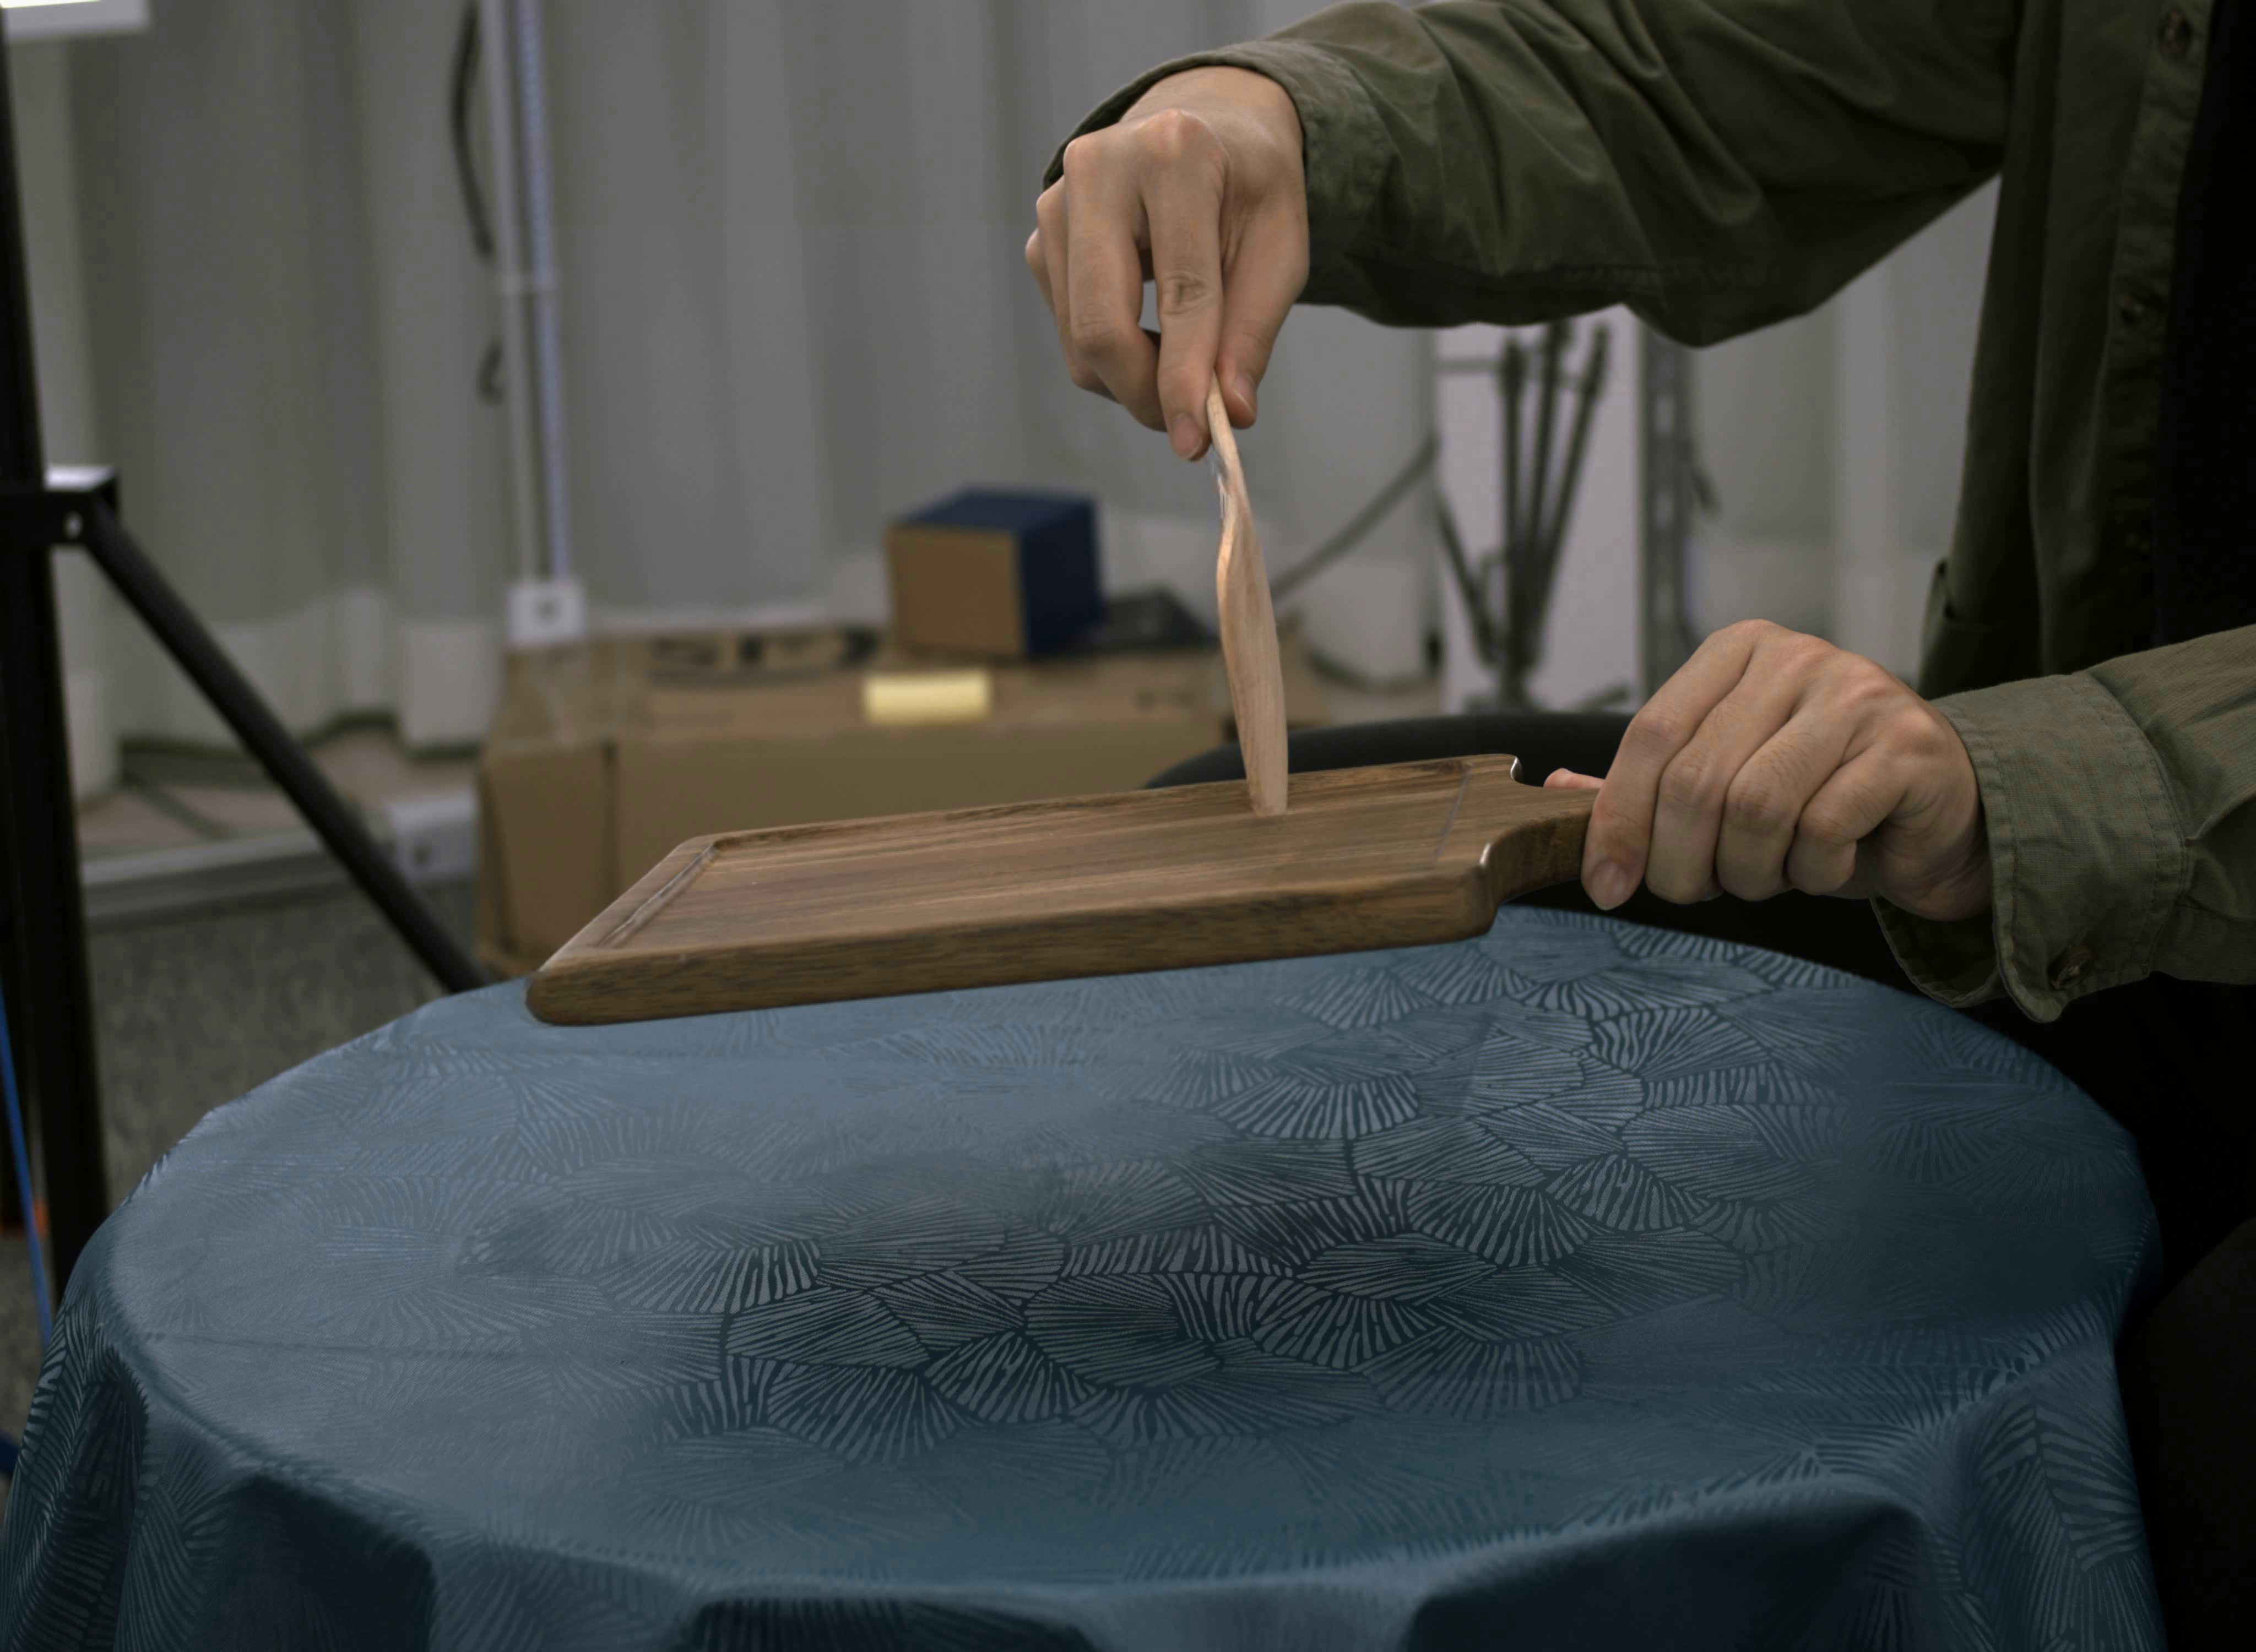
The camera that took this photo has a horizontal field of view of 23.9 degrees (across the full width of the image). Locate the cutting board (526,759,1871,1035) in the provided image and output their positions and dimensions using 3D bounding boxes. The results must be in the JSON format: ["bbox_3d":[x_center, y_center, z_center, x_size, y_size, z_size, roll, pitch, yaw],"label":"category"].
[{"bbox_3d":[0.025,0.014,1.448,0.353,0.023,0.200,-5,9,11],"label":"cutting board"}]

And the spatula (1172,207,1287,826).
[{"bbox_3d":[0.025,-0.109,1.538,0.016,0.079,0.331,-11,28,1],"label":"spatula"}]
